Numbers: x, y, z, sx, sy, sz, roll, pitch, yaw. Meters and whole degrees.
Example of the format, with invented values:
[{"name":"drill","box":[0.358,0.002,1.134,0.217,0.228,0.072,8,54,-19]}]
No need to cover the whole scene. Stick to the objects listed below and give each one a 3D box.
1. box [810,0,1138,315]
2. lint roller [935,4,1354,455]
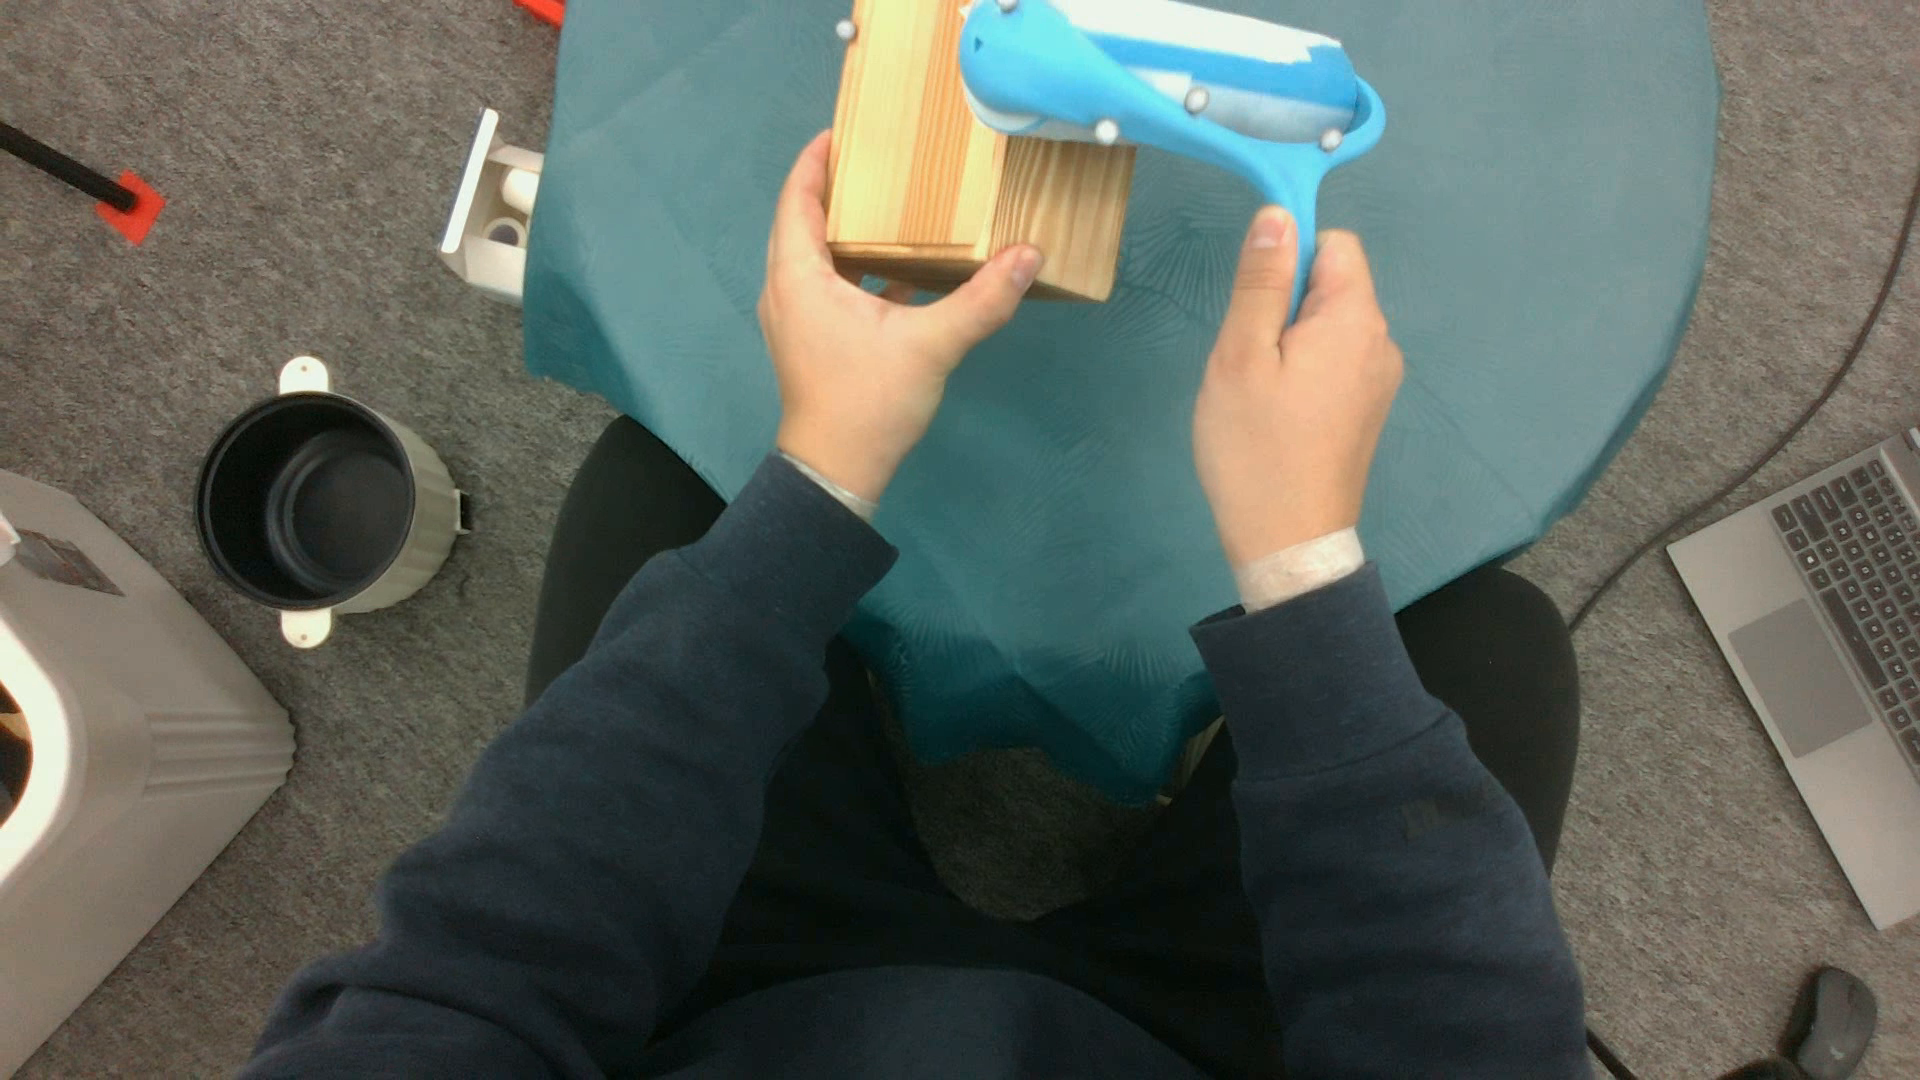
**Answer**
[{"name":"box","box":[0.010,-0.210,0.602,0.107,0.080,0.211,8,92,44]},{"name":"lint roller","box":[0.102,-0.128,0.554,0.067,0.230,0.180,-32,79,43]}]
